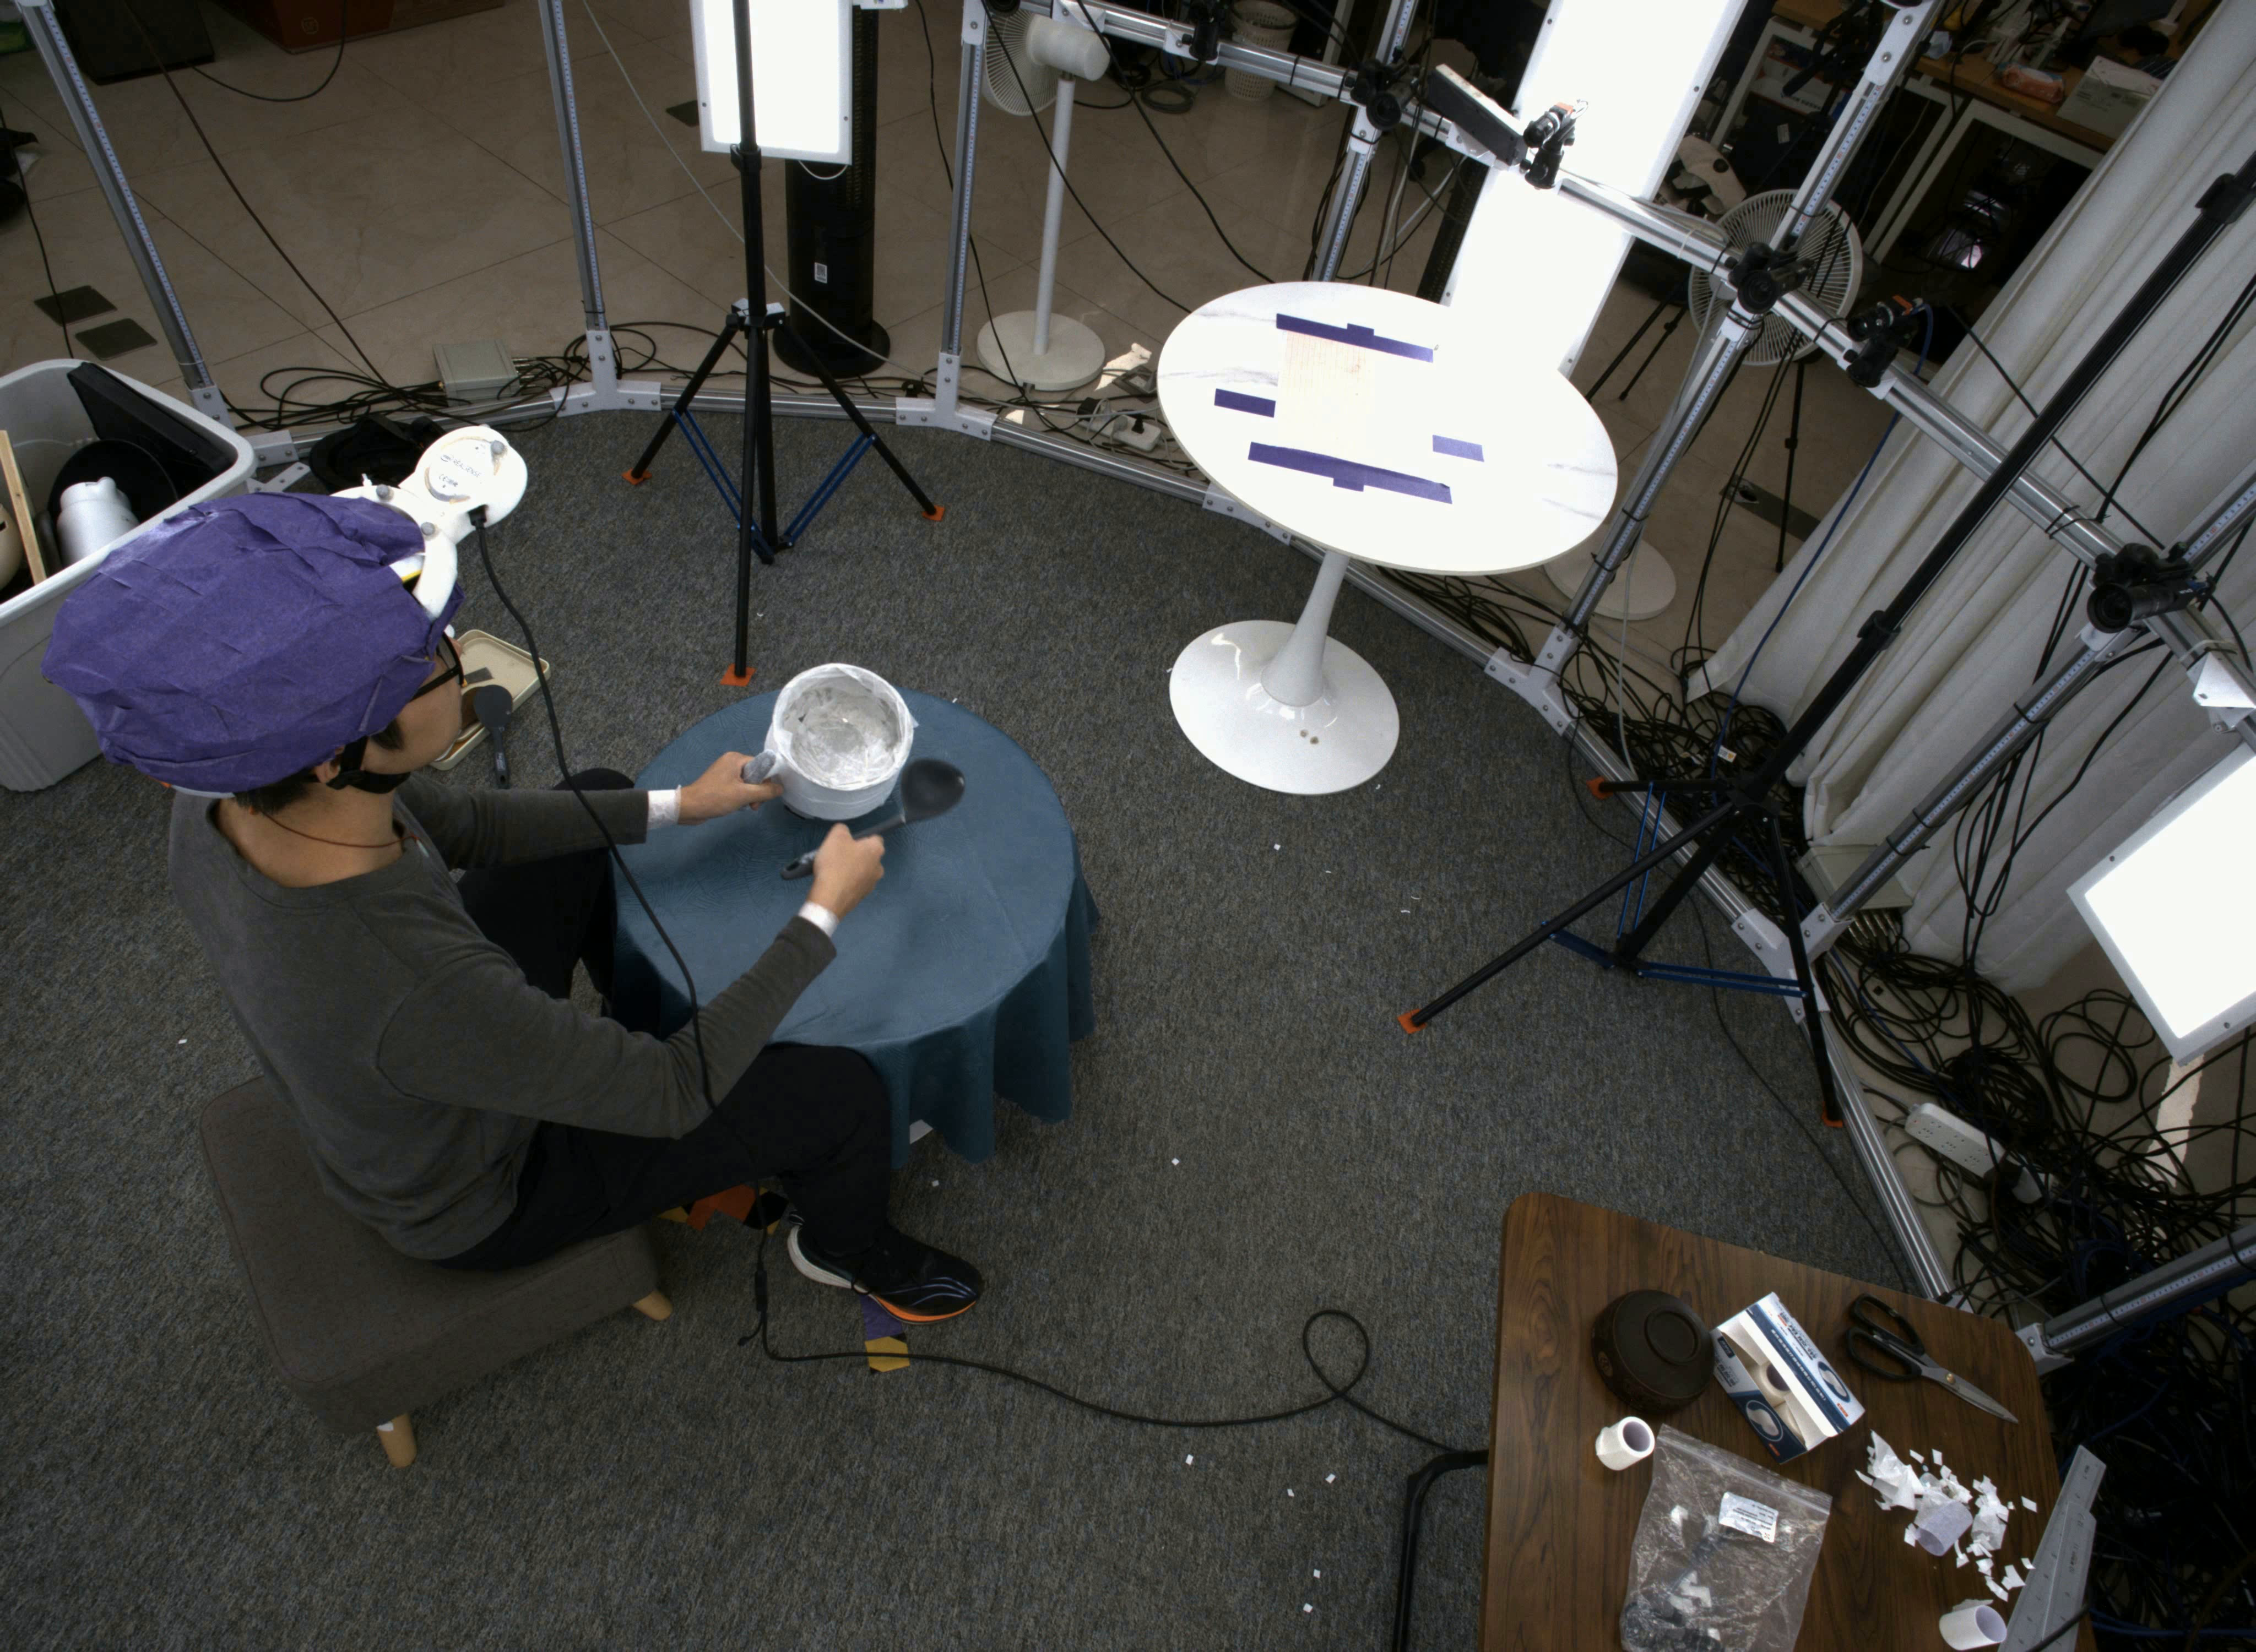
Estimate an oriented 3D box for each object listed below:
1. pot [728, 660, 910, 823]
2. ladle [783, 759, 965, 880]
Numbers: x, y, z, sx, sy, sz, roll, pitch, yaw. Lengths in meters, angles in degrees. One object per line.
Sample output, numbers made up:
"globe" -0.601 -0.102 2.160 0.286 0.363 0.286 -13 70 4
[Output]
"pot" -0.405 -0.093 1.677 0.234 0.136 0.178 -29 82 -29
"ladle" -0.295 -0.010 1.497 0.084 0.065 0.315 17 22 19
